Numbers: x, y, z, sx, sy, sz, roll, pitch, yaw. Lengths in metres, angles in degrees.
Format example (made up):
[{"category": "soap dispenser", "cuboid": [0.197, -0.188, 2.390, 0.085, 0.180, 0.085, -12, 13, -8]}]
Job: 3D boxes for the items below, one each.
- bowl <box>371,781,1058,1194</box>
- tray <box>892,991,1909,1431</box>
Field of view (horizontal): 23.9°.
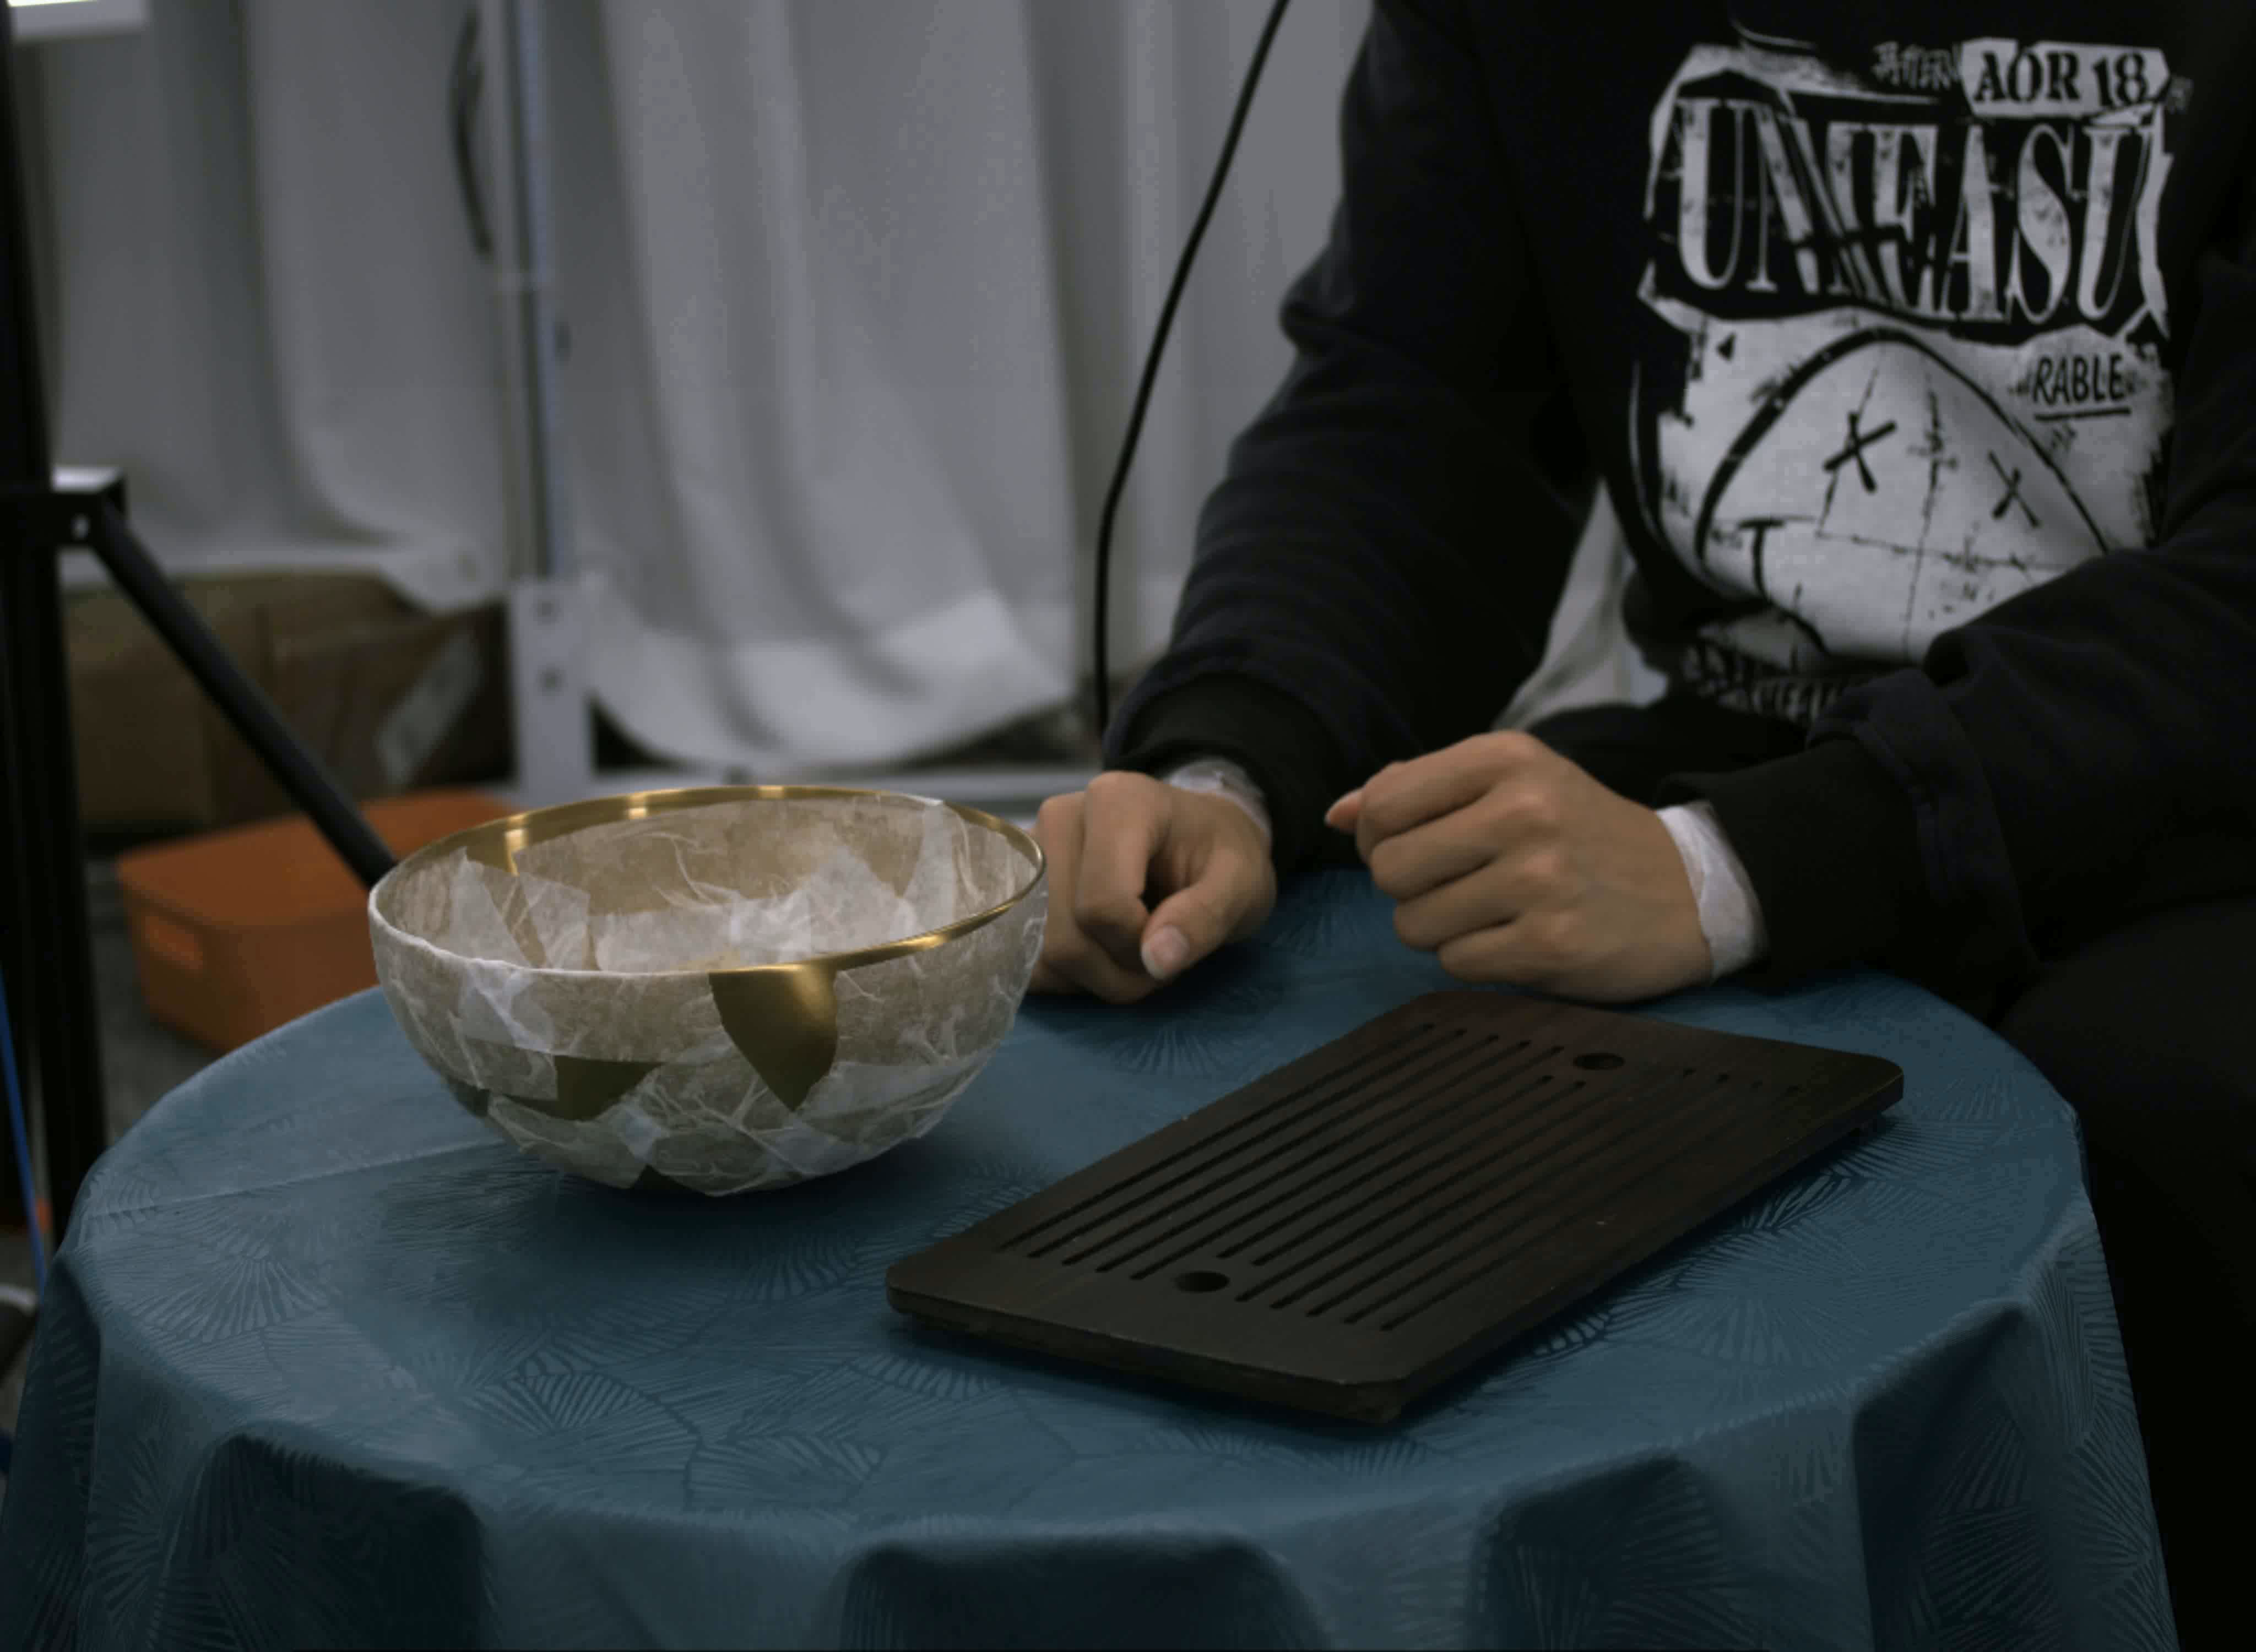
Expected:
[{"category": "bowl", "cuboid": [-0.118, 0.056, 1.593, 0.213, 0.094, 0.216, -4, 15, 0]}, {"category": "tray", "cuboid": [0.085, 0.106, 1.517, 0.173, 0.018, 0.300, 9, 19, 35]}]
